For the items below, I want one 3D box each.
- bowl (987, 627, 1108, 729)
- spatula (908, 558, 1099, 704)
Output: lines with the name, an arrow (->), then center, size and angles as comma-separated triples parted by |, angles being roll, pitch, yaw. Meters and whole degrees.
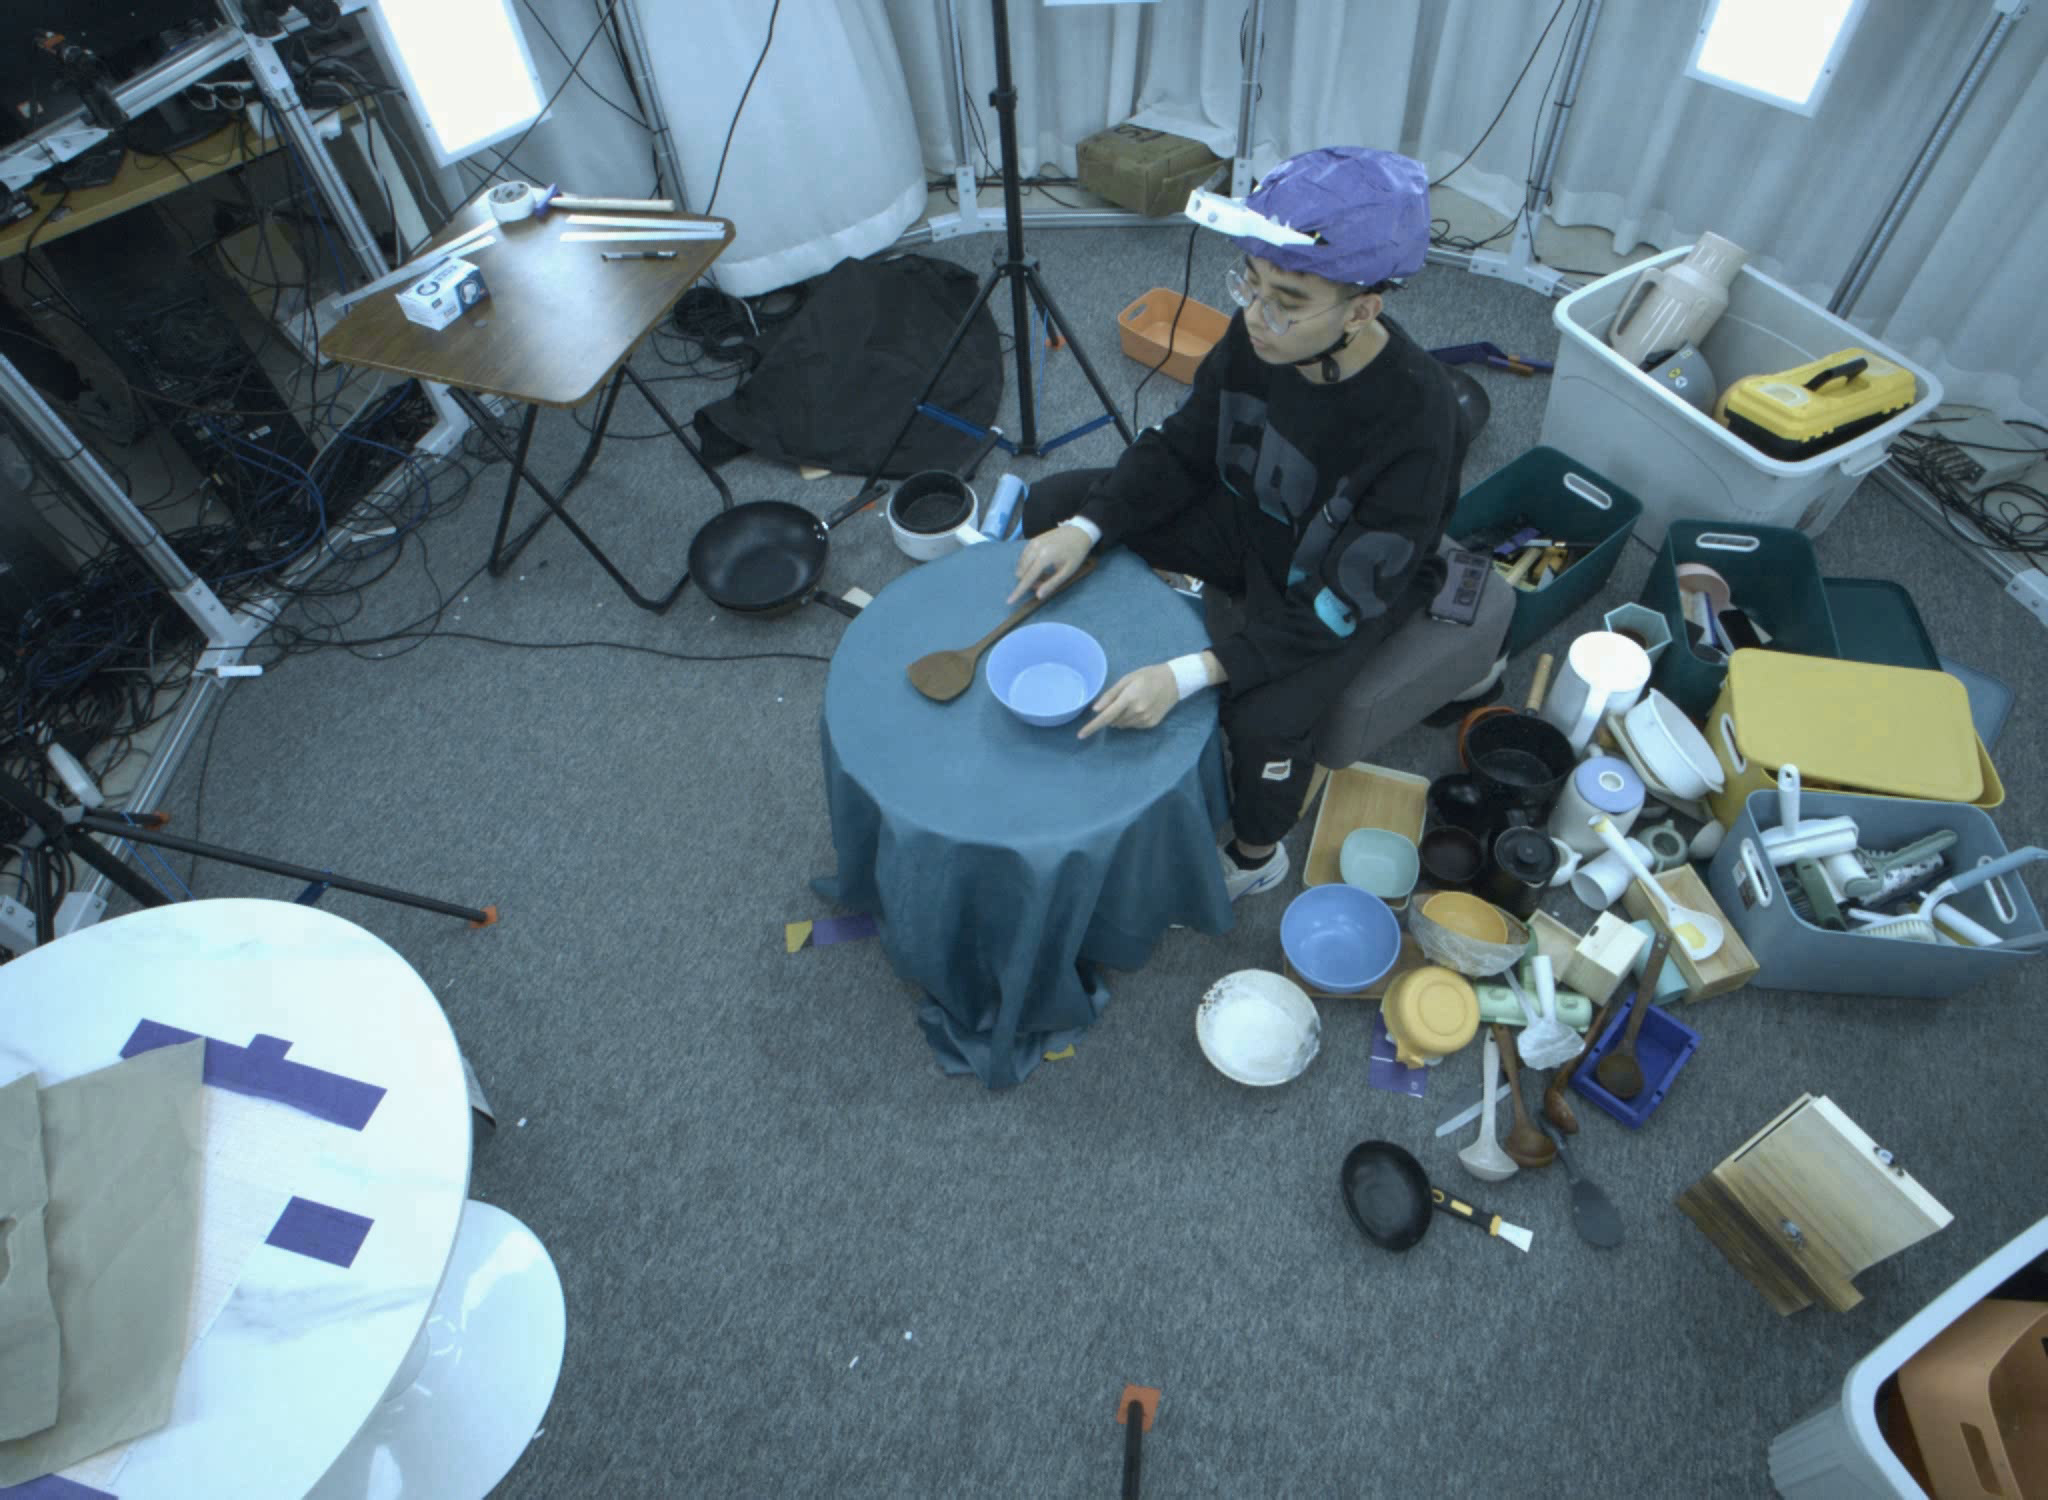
bowl -> 0.035, -0.097, 1.822 | 0.176, 0.071, 0.174 | 0, 55, 1
spatula -> -0.019, -0.198, 1.929 | 0.094, 0.016, 0.388 | 39, 64, 24
